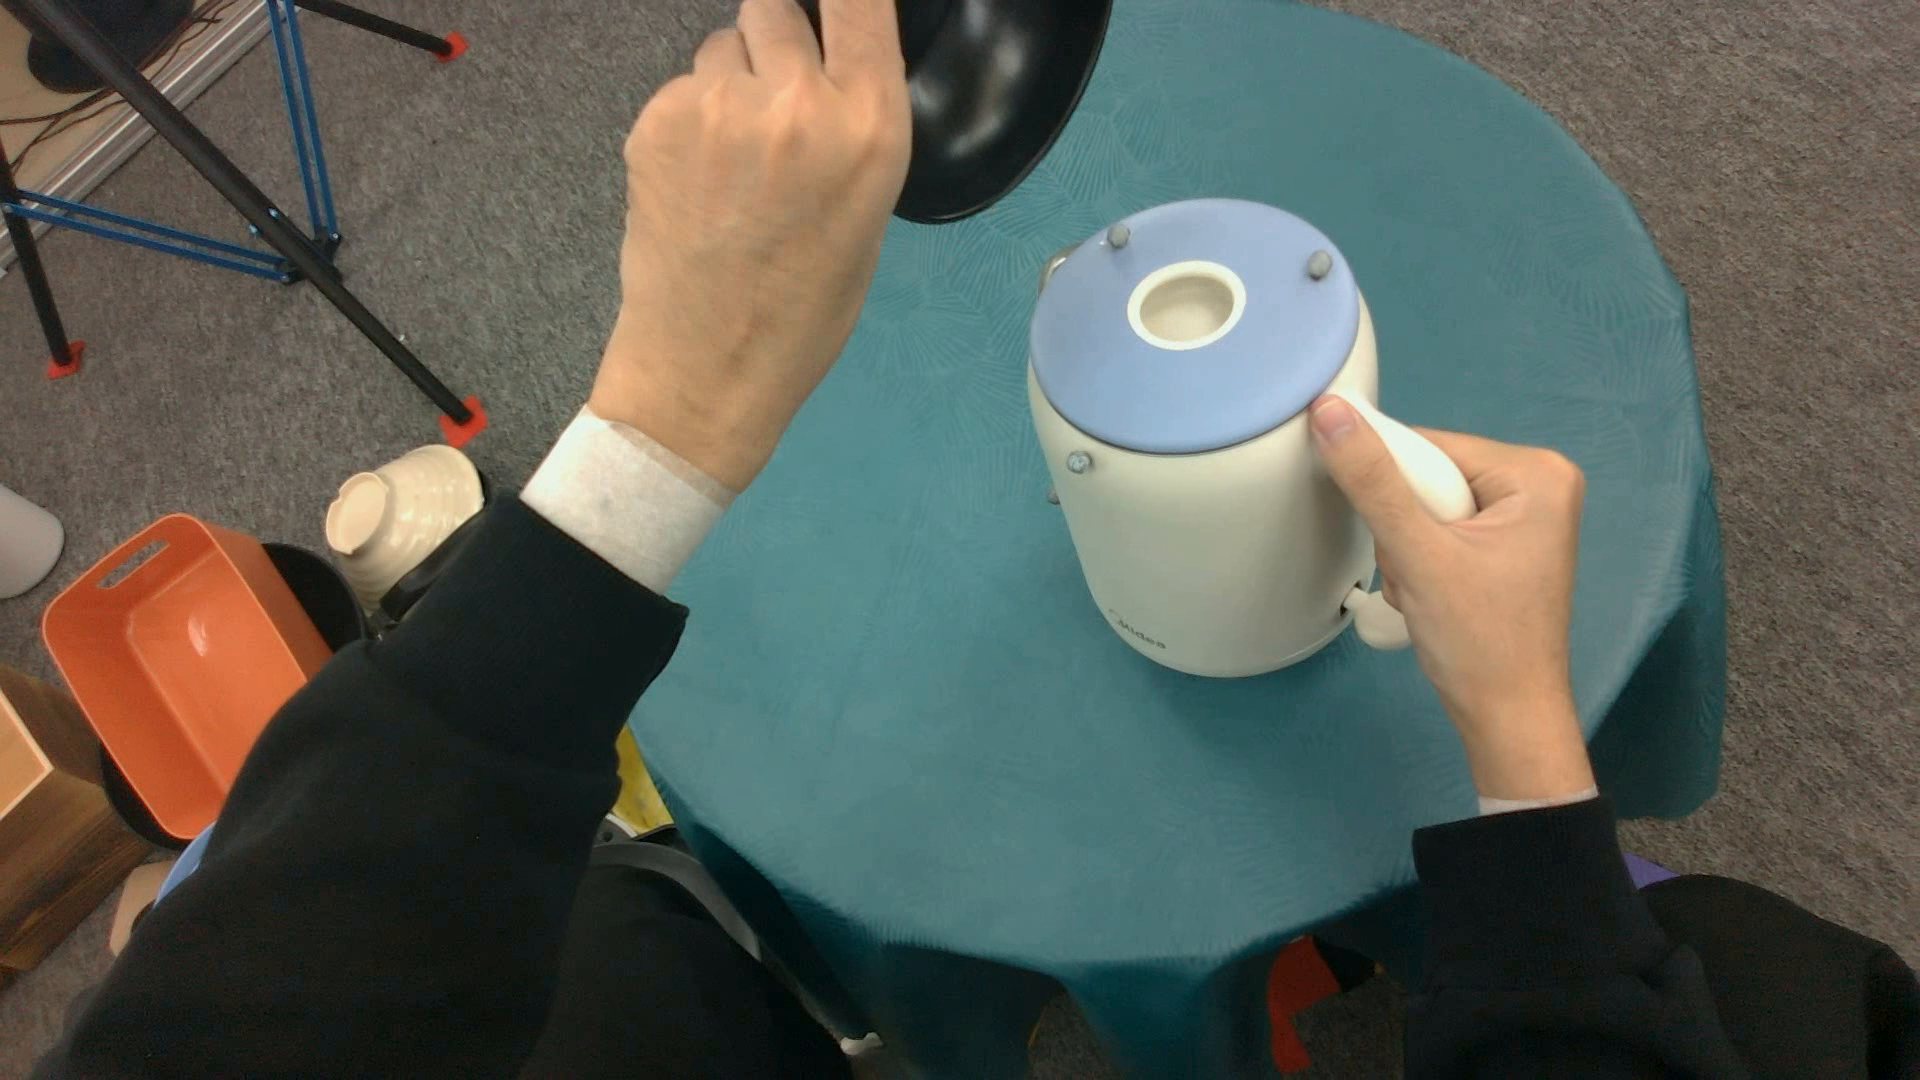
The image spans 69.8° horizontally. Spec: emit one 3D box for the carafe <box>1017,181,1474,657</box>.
[{"bbox_3d":[0.117,-0.033,0.557,0.191,0.182,0.132,31,71,28],"label":"carafe"}]

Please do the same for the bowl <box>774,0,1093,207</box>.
[{"bbox_3d":[-0.013,-0.183,0.445,0.050,0.139,0.140,32,75,27],"label":"bowl"}]
